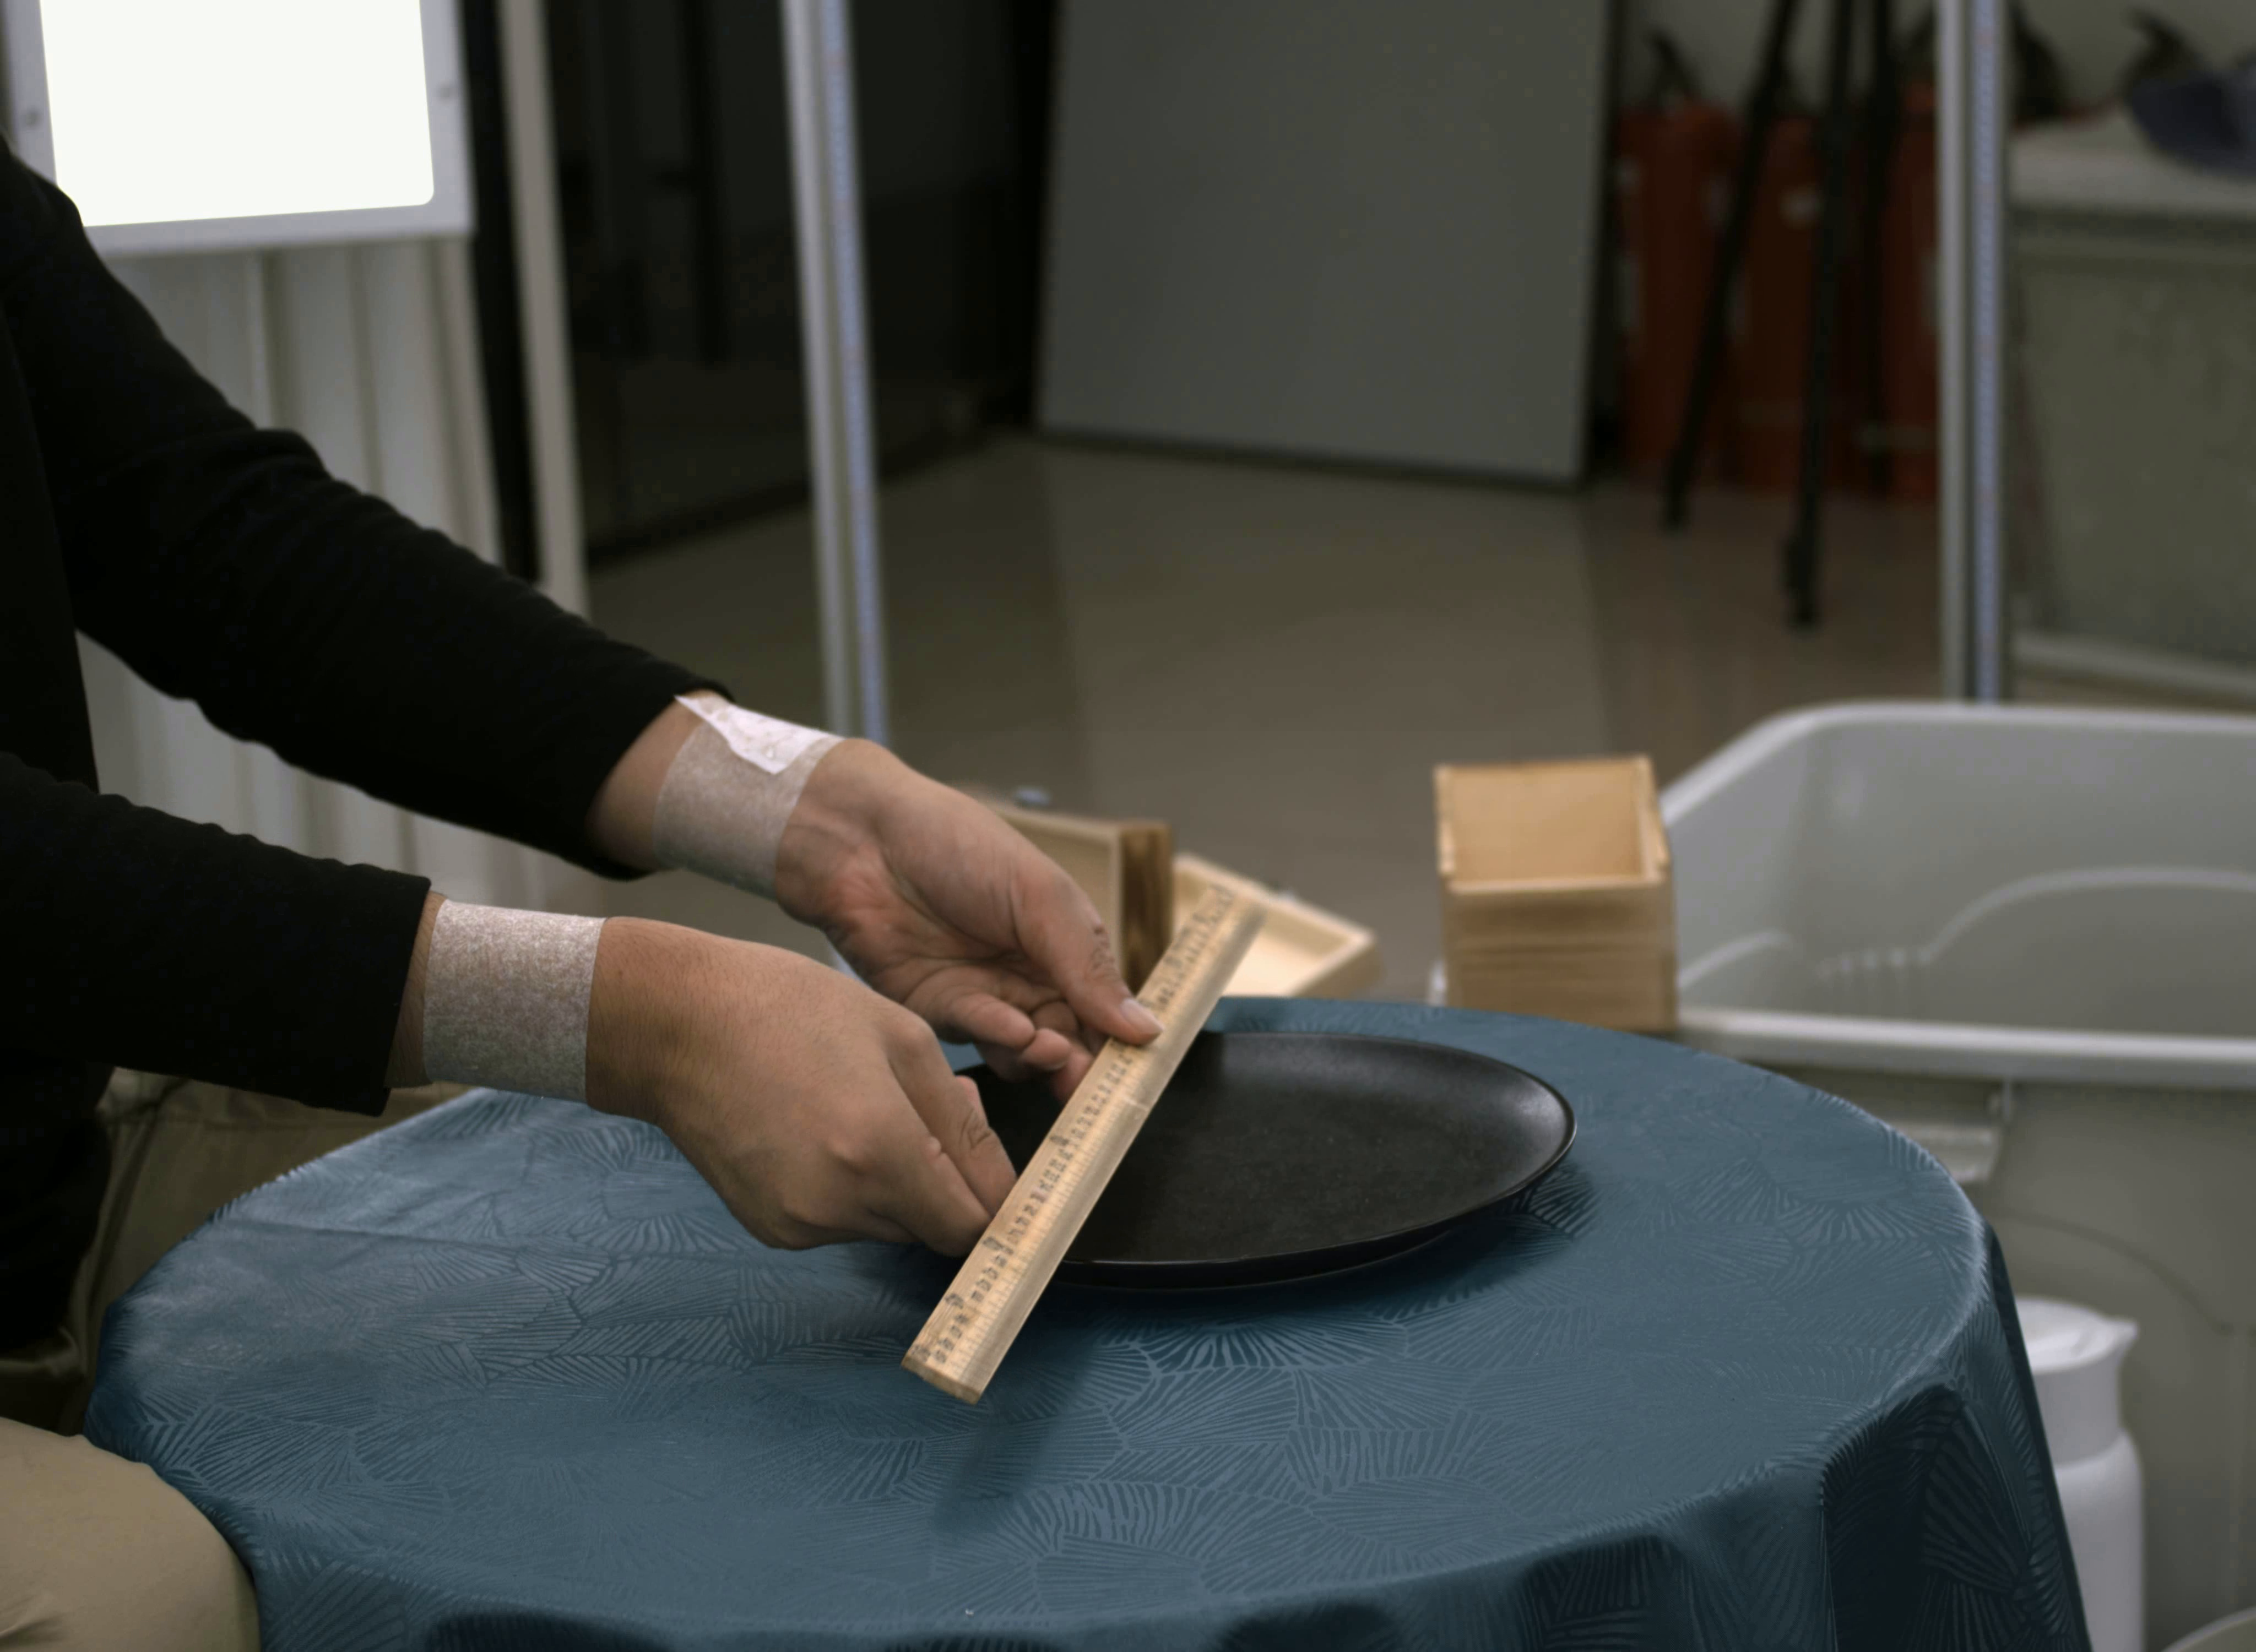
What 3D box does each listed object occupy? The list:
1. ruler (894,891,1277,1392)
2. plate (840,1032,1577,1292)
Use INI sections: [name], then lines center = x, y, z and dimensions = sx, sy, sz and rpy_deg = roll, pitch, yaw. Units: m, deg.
[ruler]
center = -0.006, 0.090, 1.742
dimensions = 0.026, 0.006, 0.498
rpy_deg = 26, 18, 4
[plate]
center = 0.027, 0.111, 1.752
dimensions = 0.241, 0.024, 0.245
rpy_deg = -4, 14, 0
